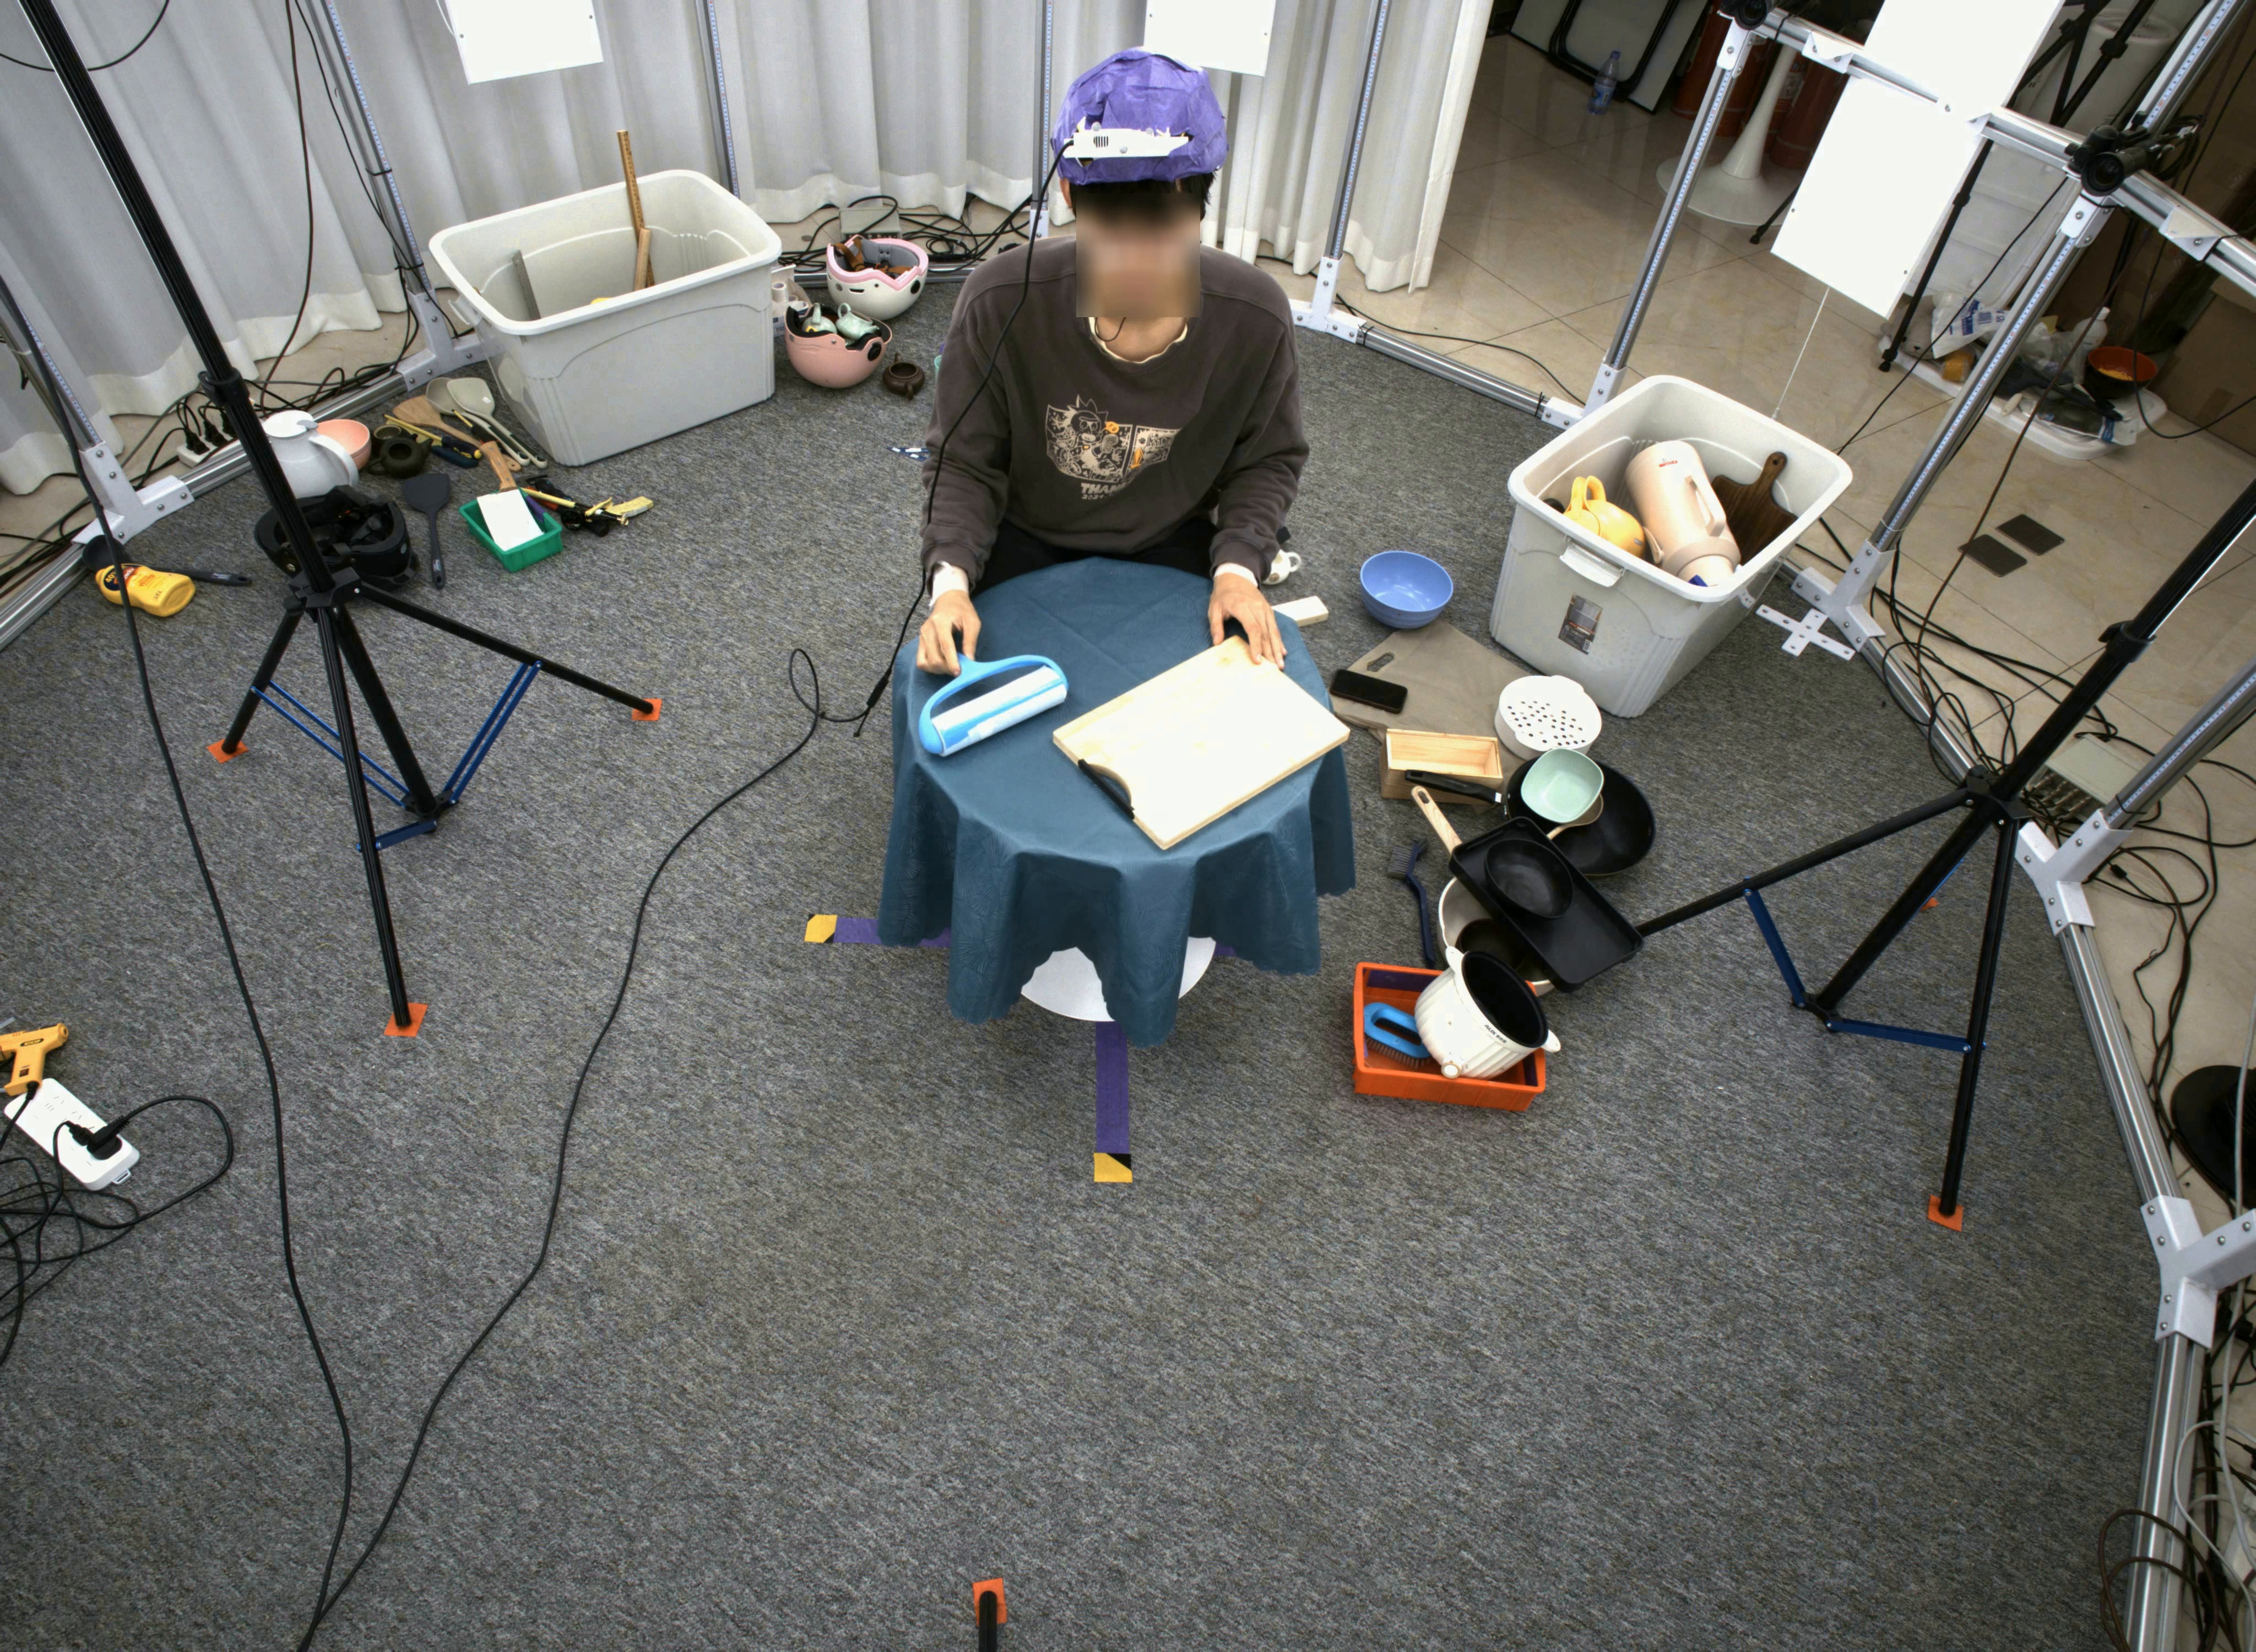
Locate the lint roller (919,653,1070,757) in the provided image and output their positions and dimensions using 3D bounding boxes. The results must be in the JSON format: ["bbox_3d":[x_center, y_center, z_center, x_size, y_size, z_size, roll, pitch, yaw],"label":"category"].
[{"bbox_3d":[-0.214,-0.196,1.784,0.230,0.066,0.183,-29,59,-25],"label":"lint roller"}]

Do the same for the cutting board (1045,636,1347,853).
[{"bbox_3d":[0.097,-0.122,1.767,0.351,0.023,0.255,-31,57,-26],"label":"cutting board"}]
